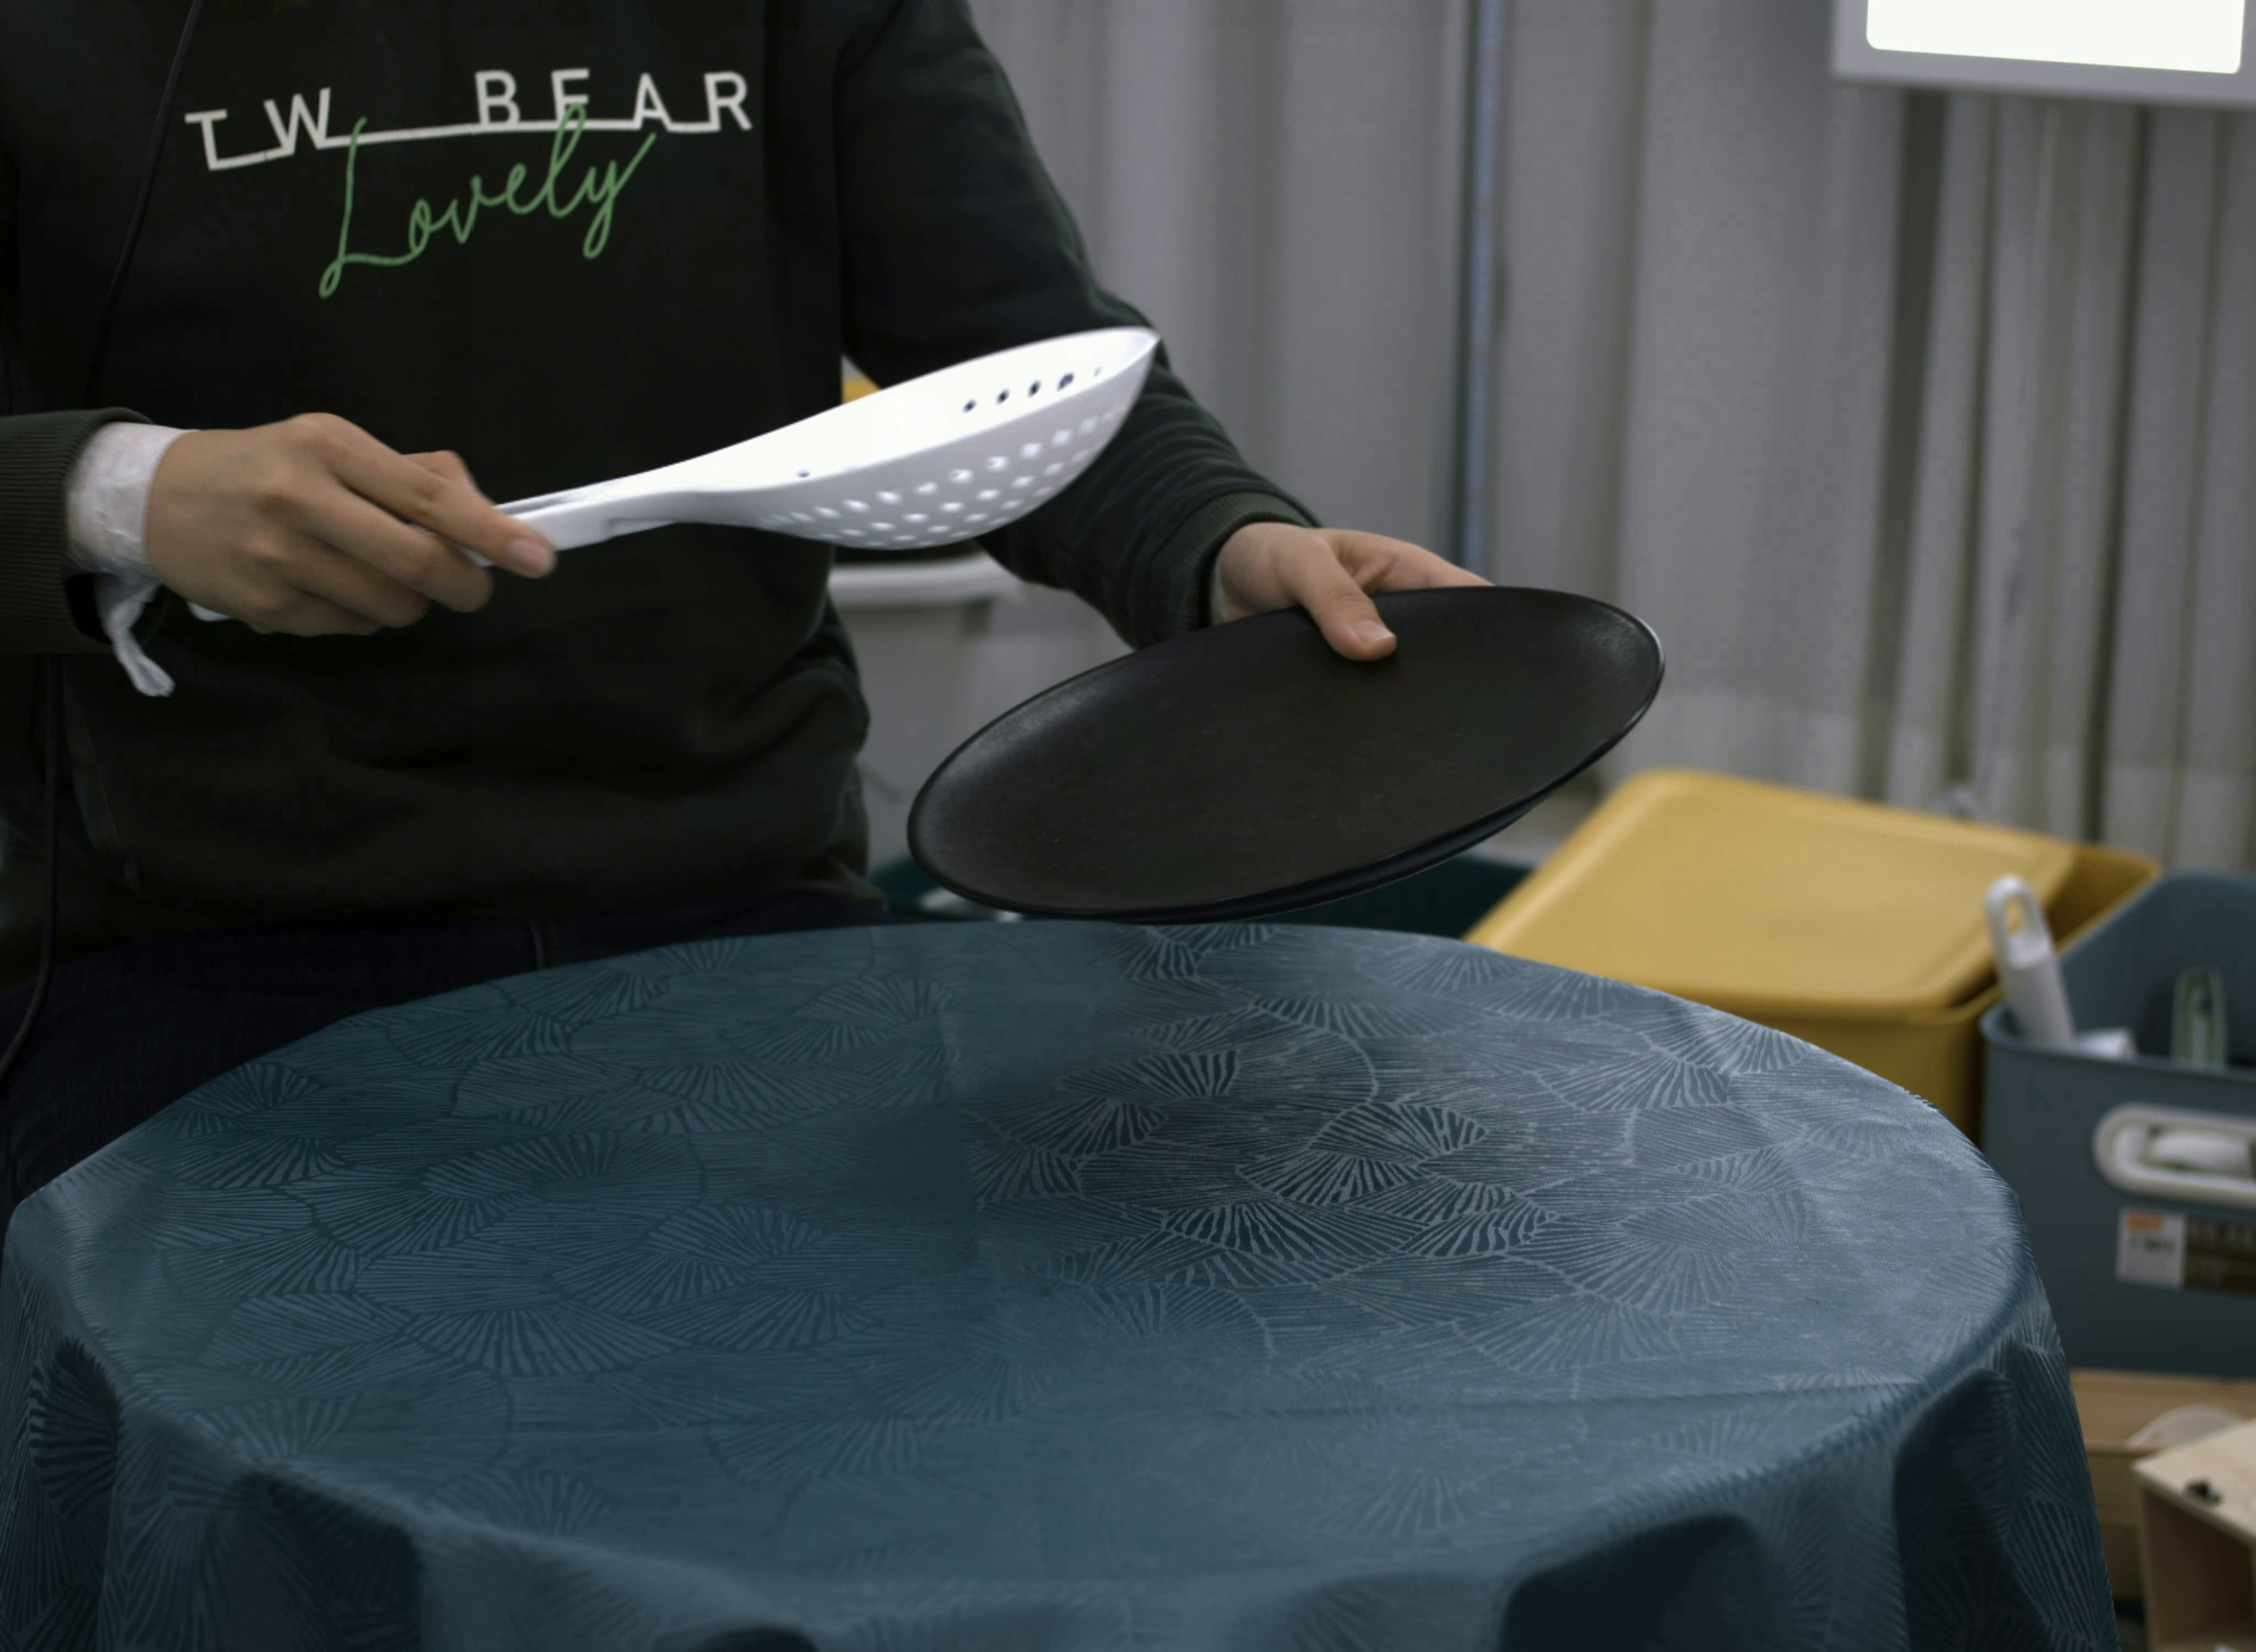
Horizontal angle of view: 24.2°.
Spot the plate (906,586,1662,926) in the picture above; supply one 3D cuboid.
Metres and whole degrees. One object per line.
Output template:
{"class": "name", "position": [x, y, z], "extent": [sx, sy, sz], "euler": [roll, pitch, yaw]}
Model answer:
{"class": "plate", "position": [0.050, -0.018, 1.649], "extent": [0.243, 0.024, 0.243], "euler": [-13, 21, 6]}

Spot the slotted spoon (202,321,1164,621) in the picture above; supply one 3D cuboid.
{"class": "slotted spoon", "position": [-0.144, -0.103, 1.613], "extent": [0.346, 0.046, 0.136], "euler": [-5, 18, 28]}
